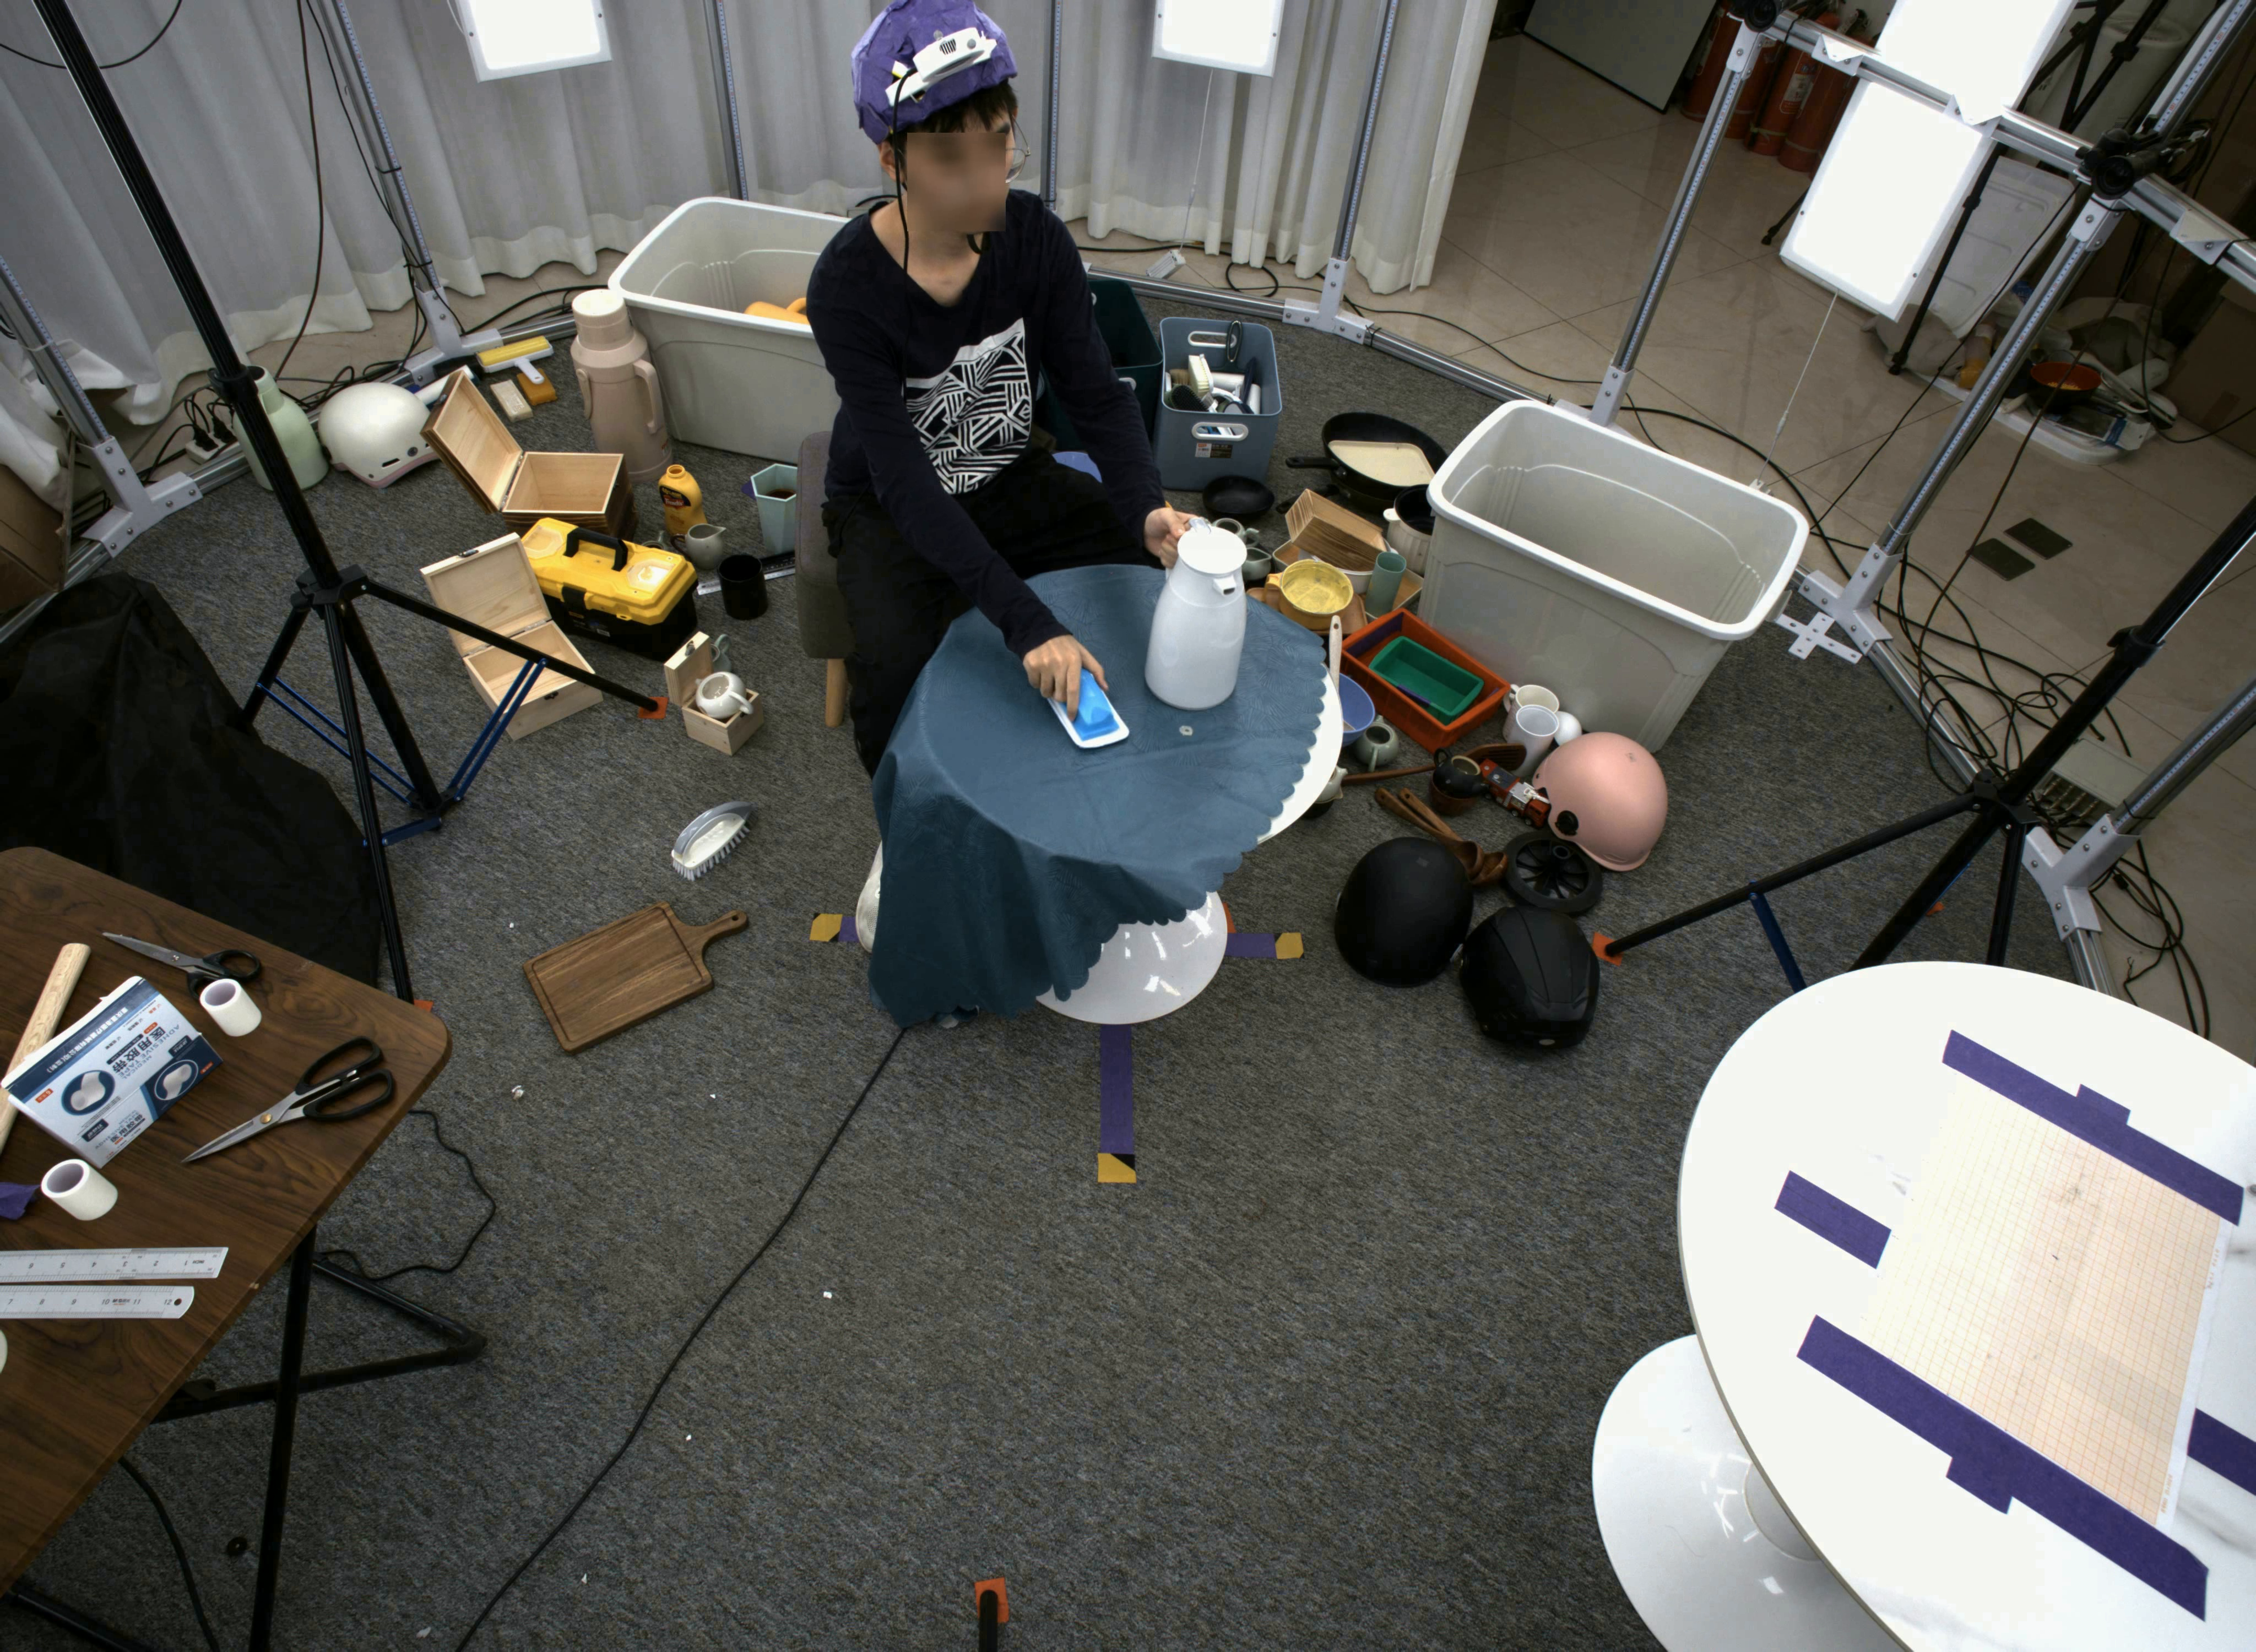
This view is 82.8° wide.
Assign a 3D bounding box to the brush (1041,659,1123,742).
[{"bbox_3d":[-0.062,-0.181,1.782,0.084,0.054,0.147,-12,52,-19],"label":"brush"}]

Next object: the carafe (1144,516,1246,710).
[{"bbox_3d":[0.091,-0.305,1.773,0.132,0.243,0.171,-16,53,-18],"label":"carafe"}]
